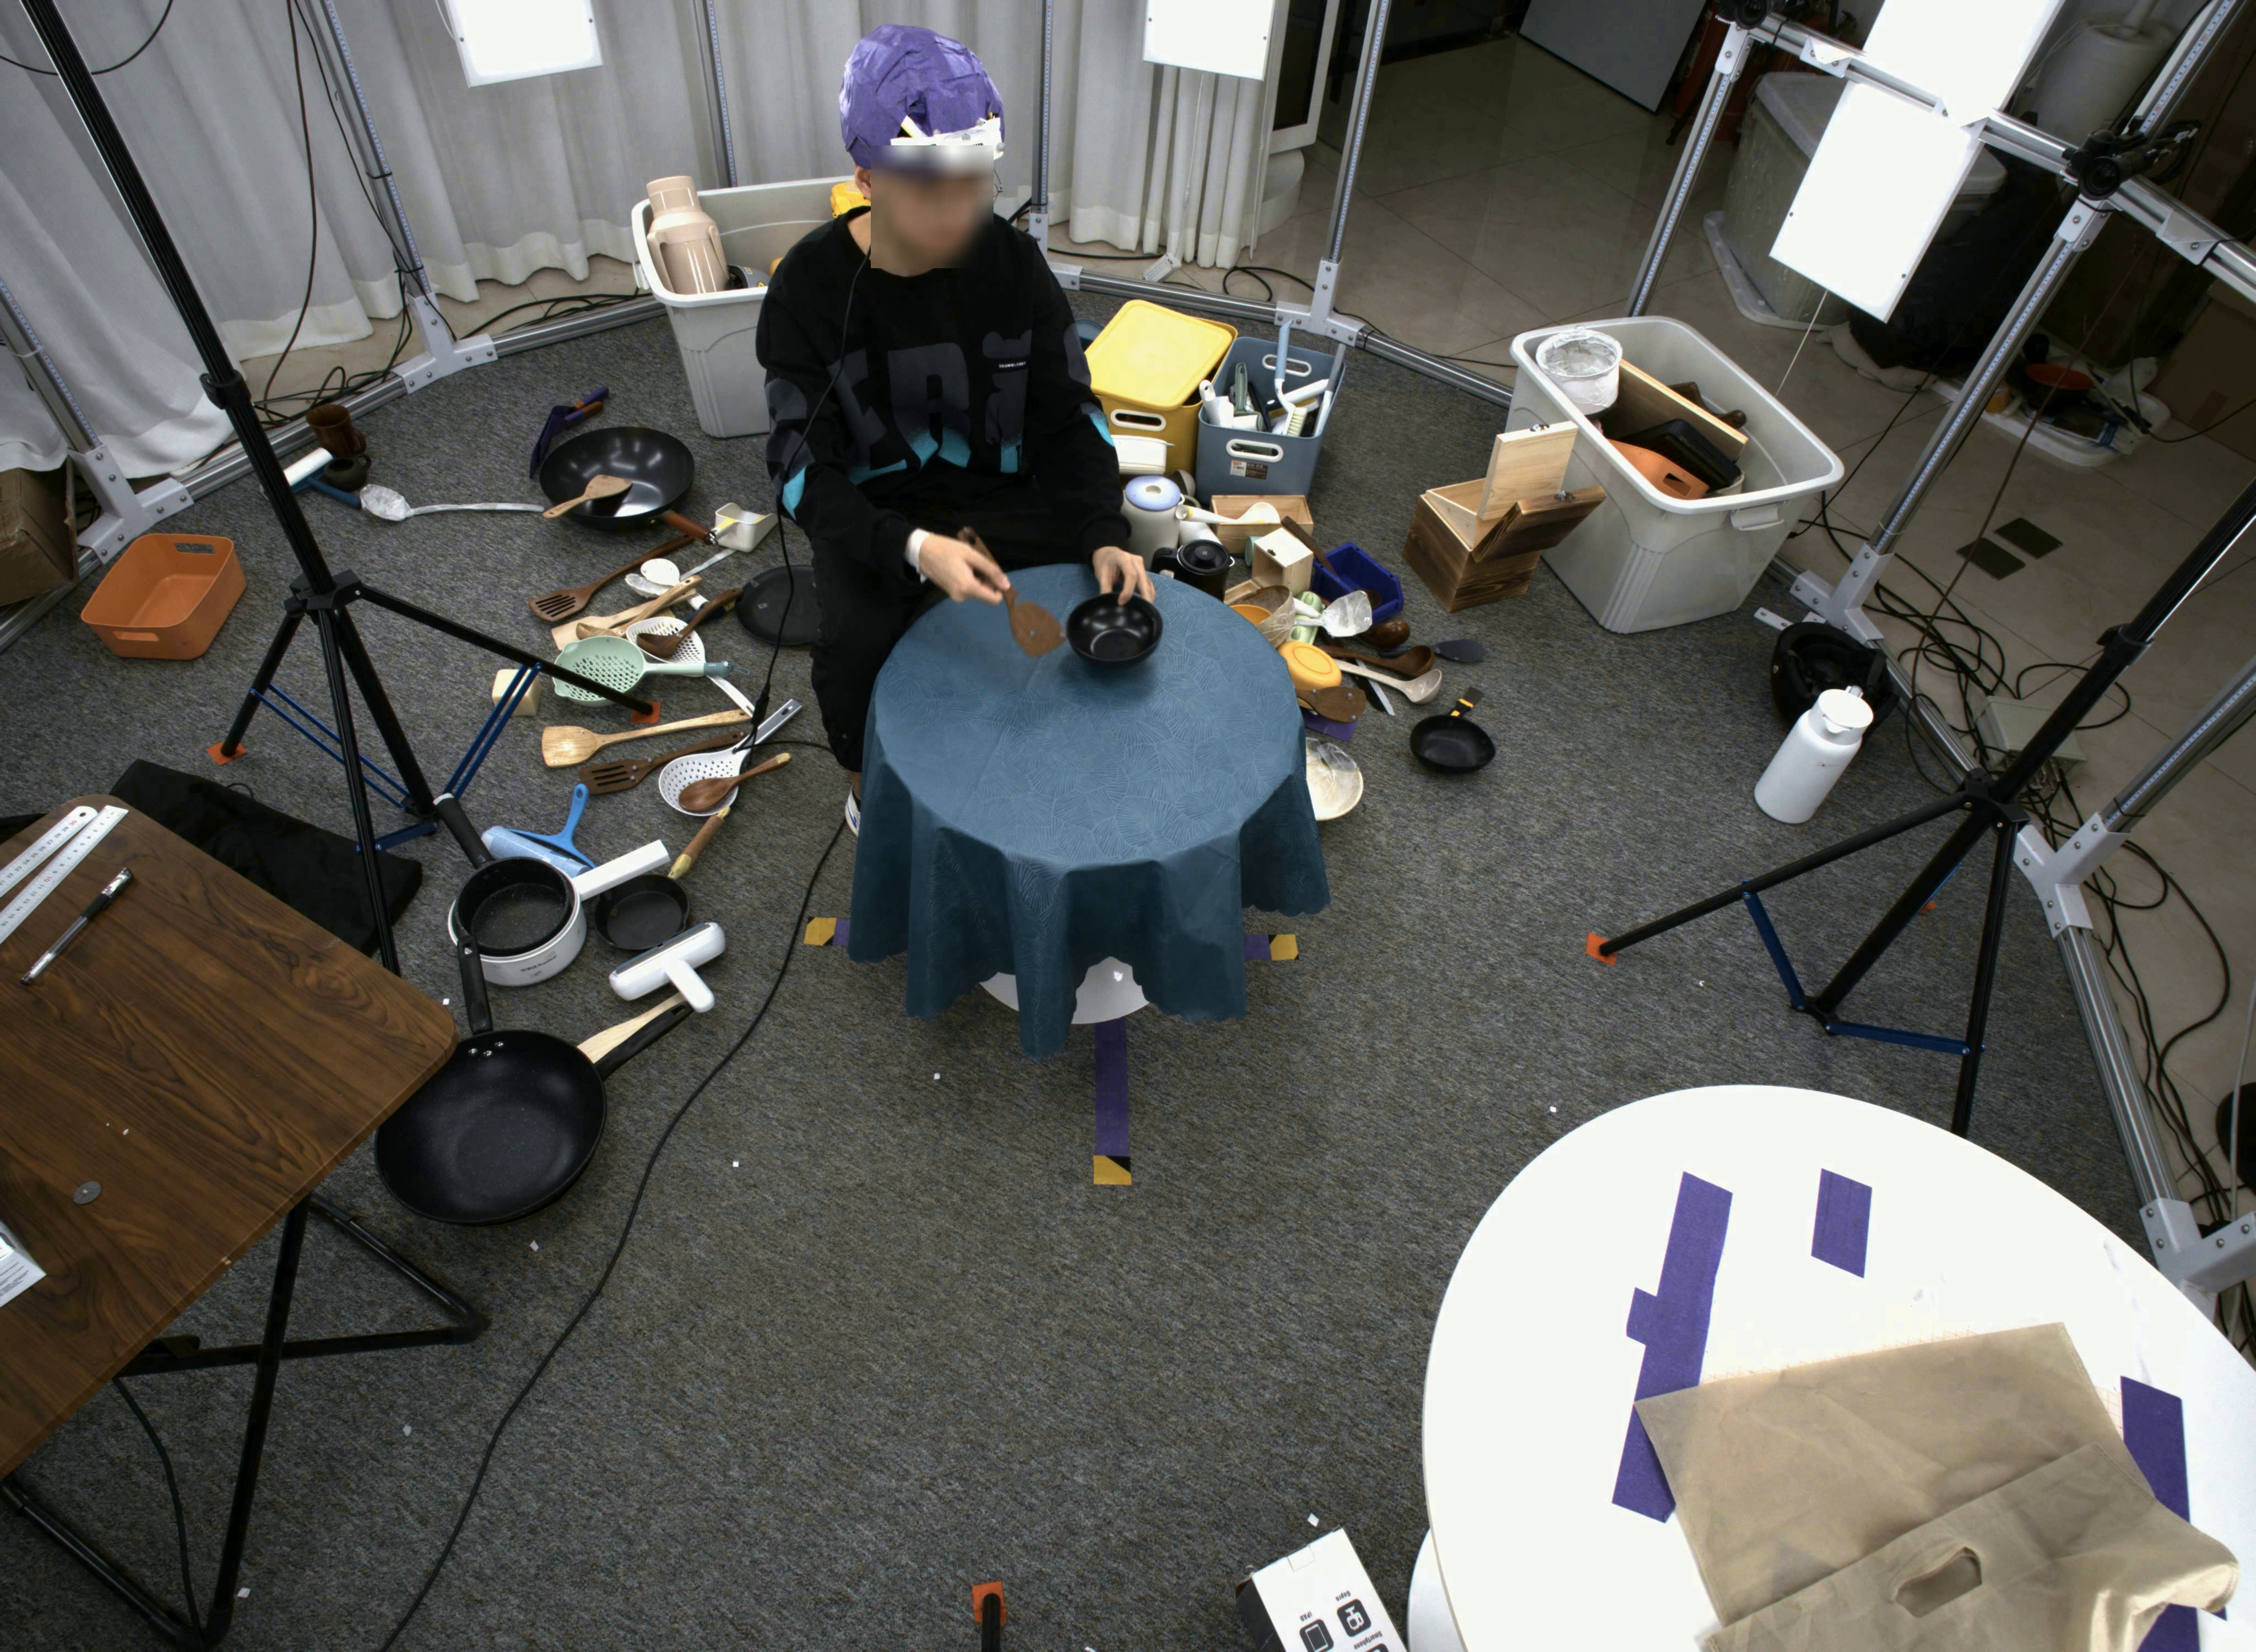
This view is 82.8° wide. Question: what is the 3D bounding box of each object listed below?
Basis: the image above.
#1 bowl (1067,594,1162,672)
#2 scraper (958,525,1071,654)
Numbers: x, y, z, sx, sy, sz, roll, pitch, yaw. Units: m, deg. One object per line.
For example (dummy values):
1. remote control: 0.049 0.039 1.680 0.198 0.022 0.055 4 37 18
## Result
1. bowl: -0.018 -0.272 1.870 0.140 0.048 0.143 -3 52 3
2. scraper: -0.164 -0.332 1.789 0.076 0.010 0.212 -35 85 -32
